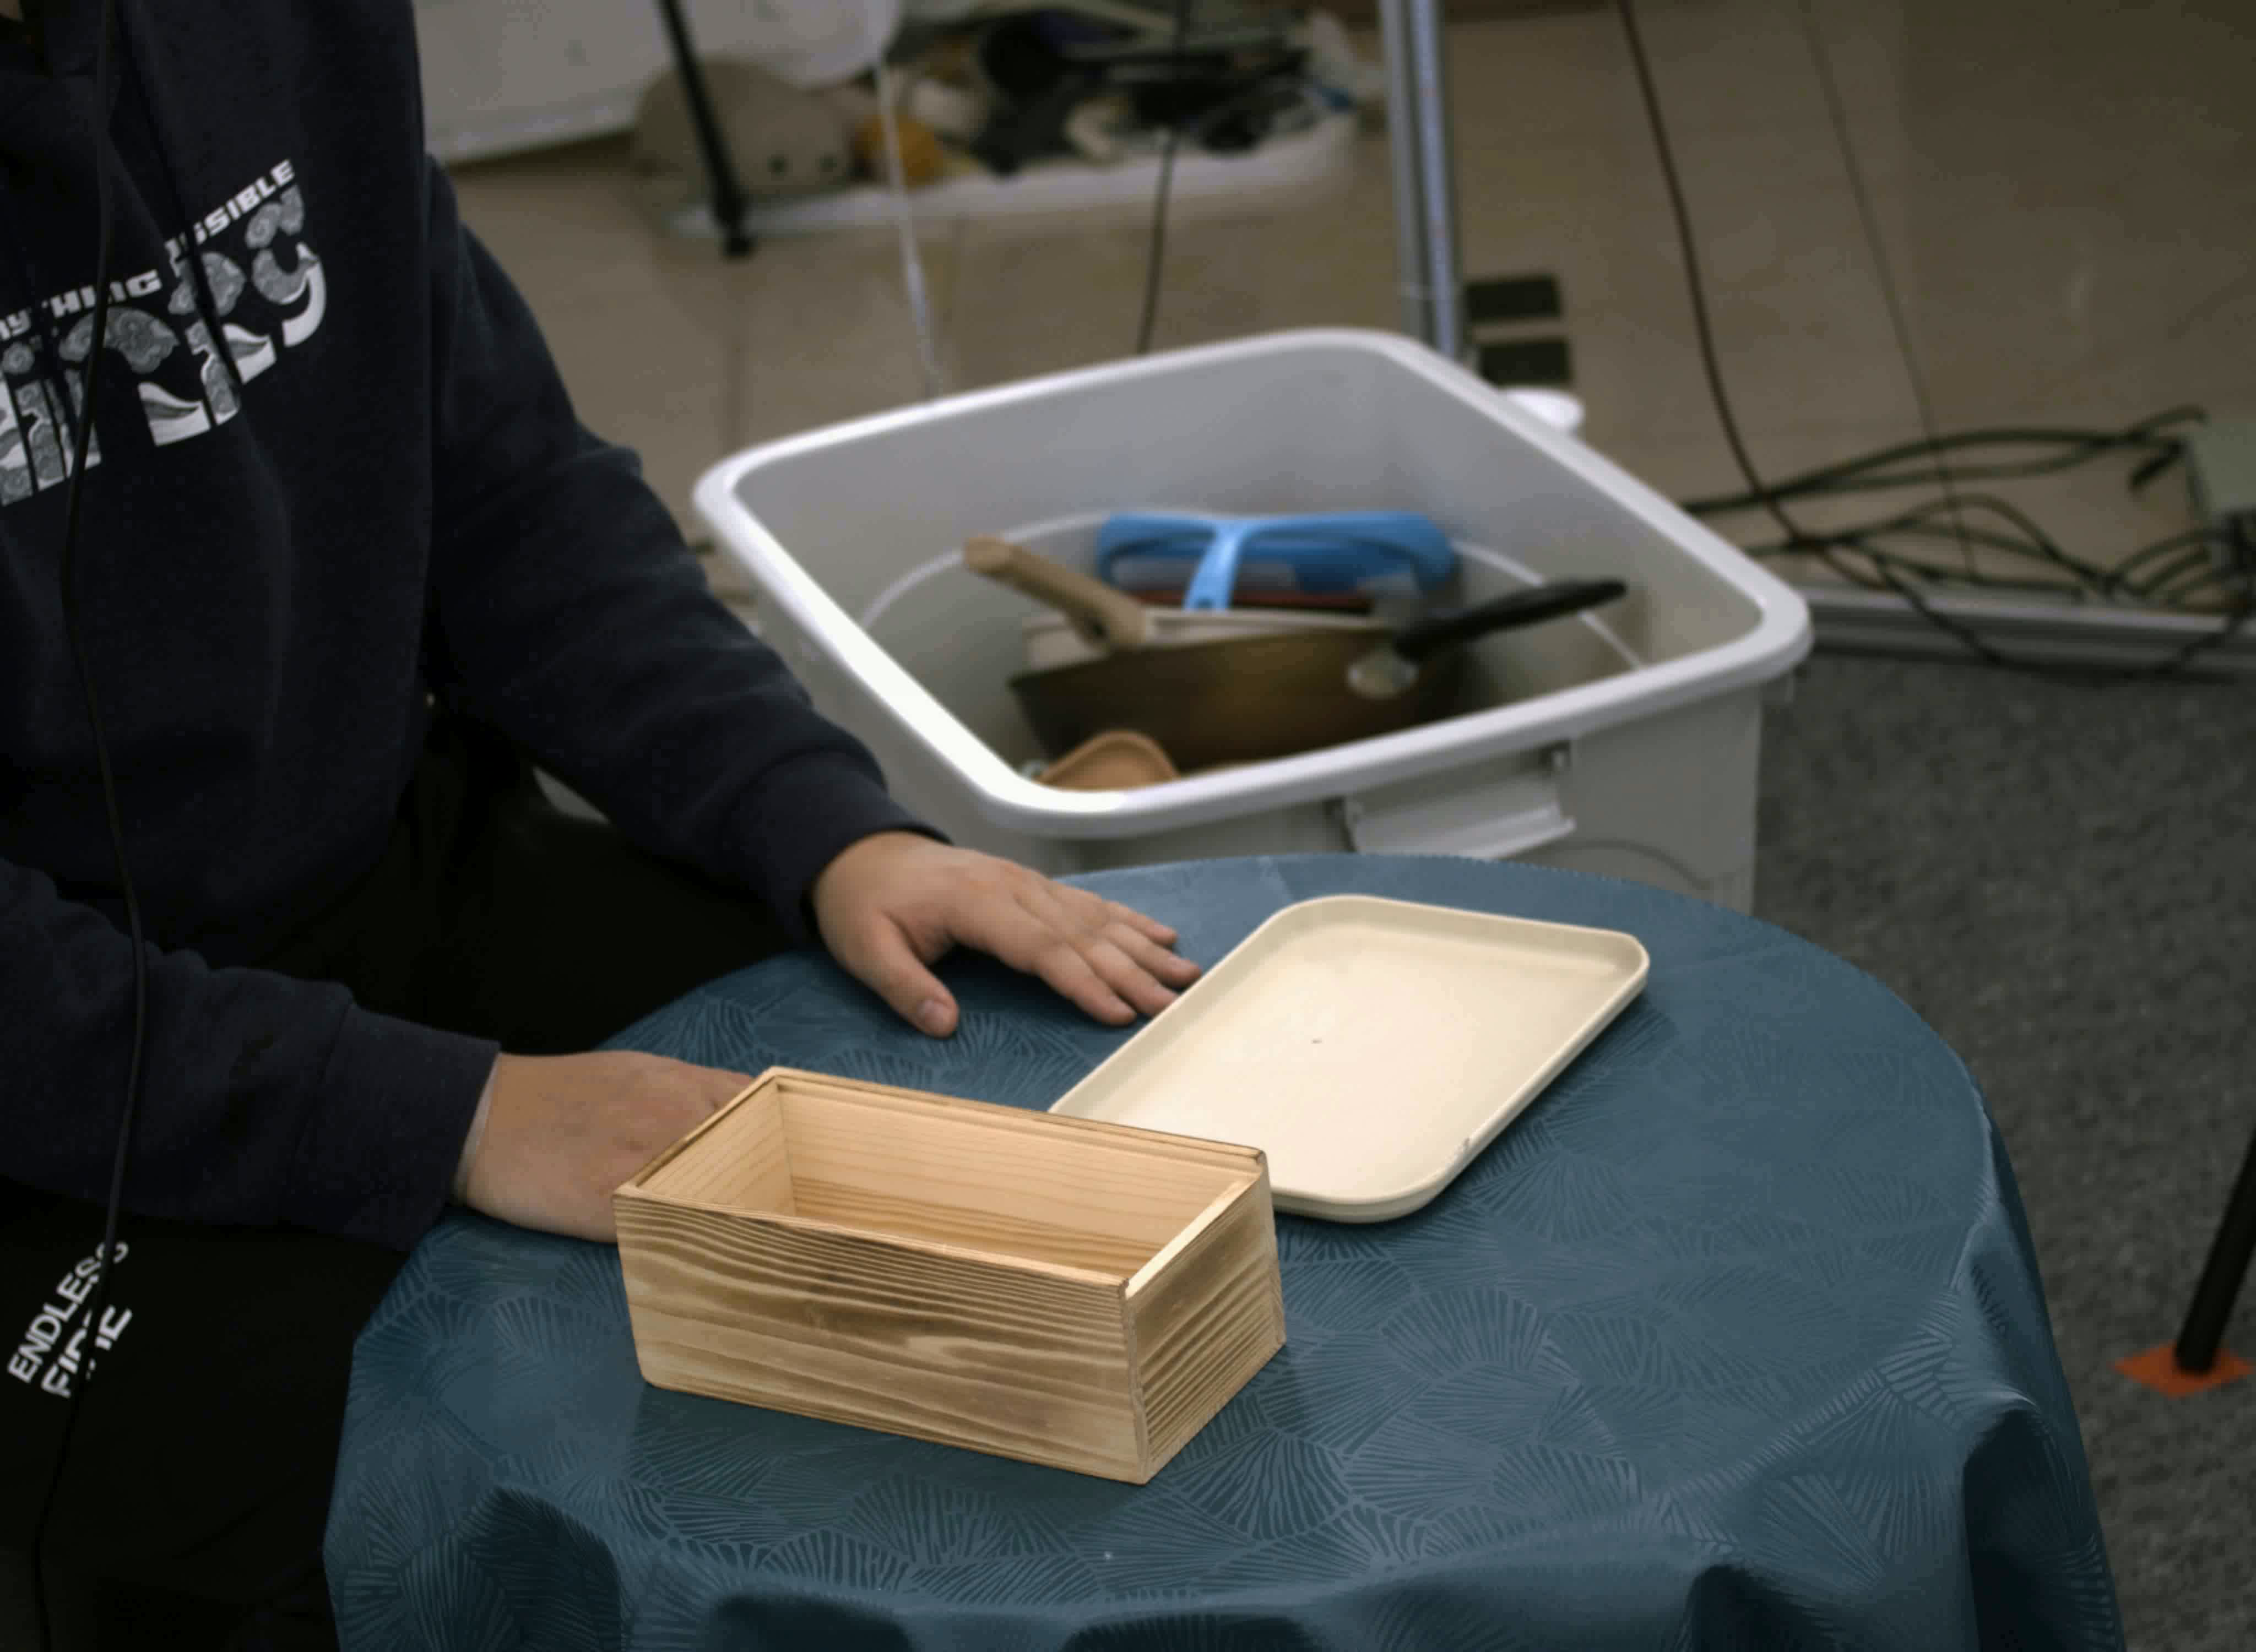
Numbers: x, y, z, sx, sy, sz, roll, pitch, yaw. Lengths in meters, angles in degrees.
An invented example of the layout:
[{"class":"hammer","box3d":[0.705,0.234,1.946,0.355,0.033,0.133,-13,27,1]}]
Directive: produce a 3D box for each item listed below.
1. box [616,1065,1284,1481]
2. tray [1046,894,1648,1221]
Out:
[{"class":"box","box3d":[-0.064,0.157,2.027,0.210,0.081,0.106,8,28,29]},{"class":"tray","box3d":[0.087,0.089,2.214,0.170,0.018,0.237,8,28,30]}]
